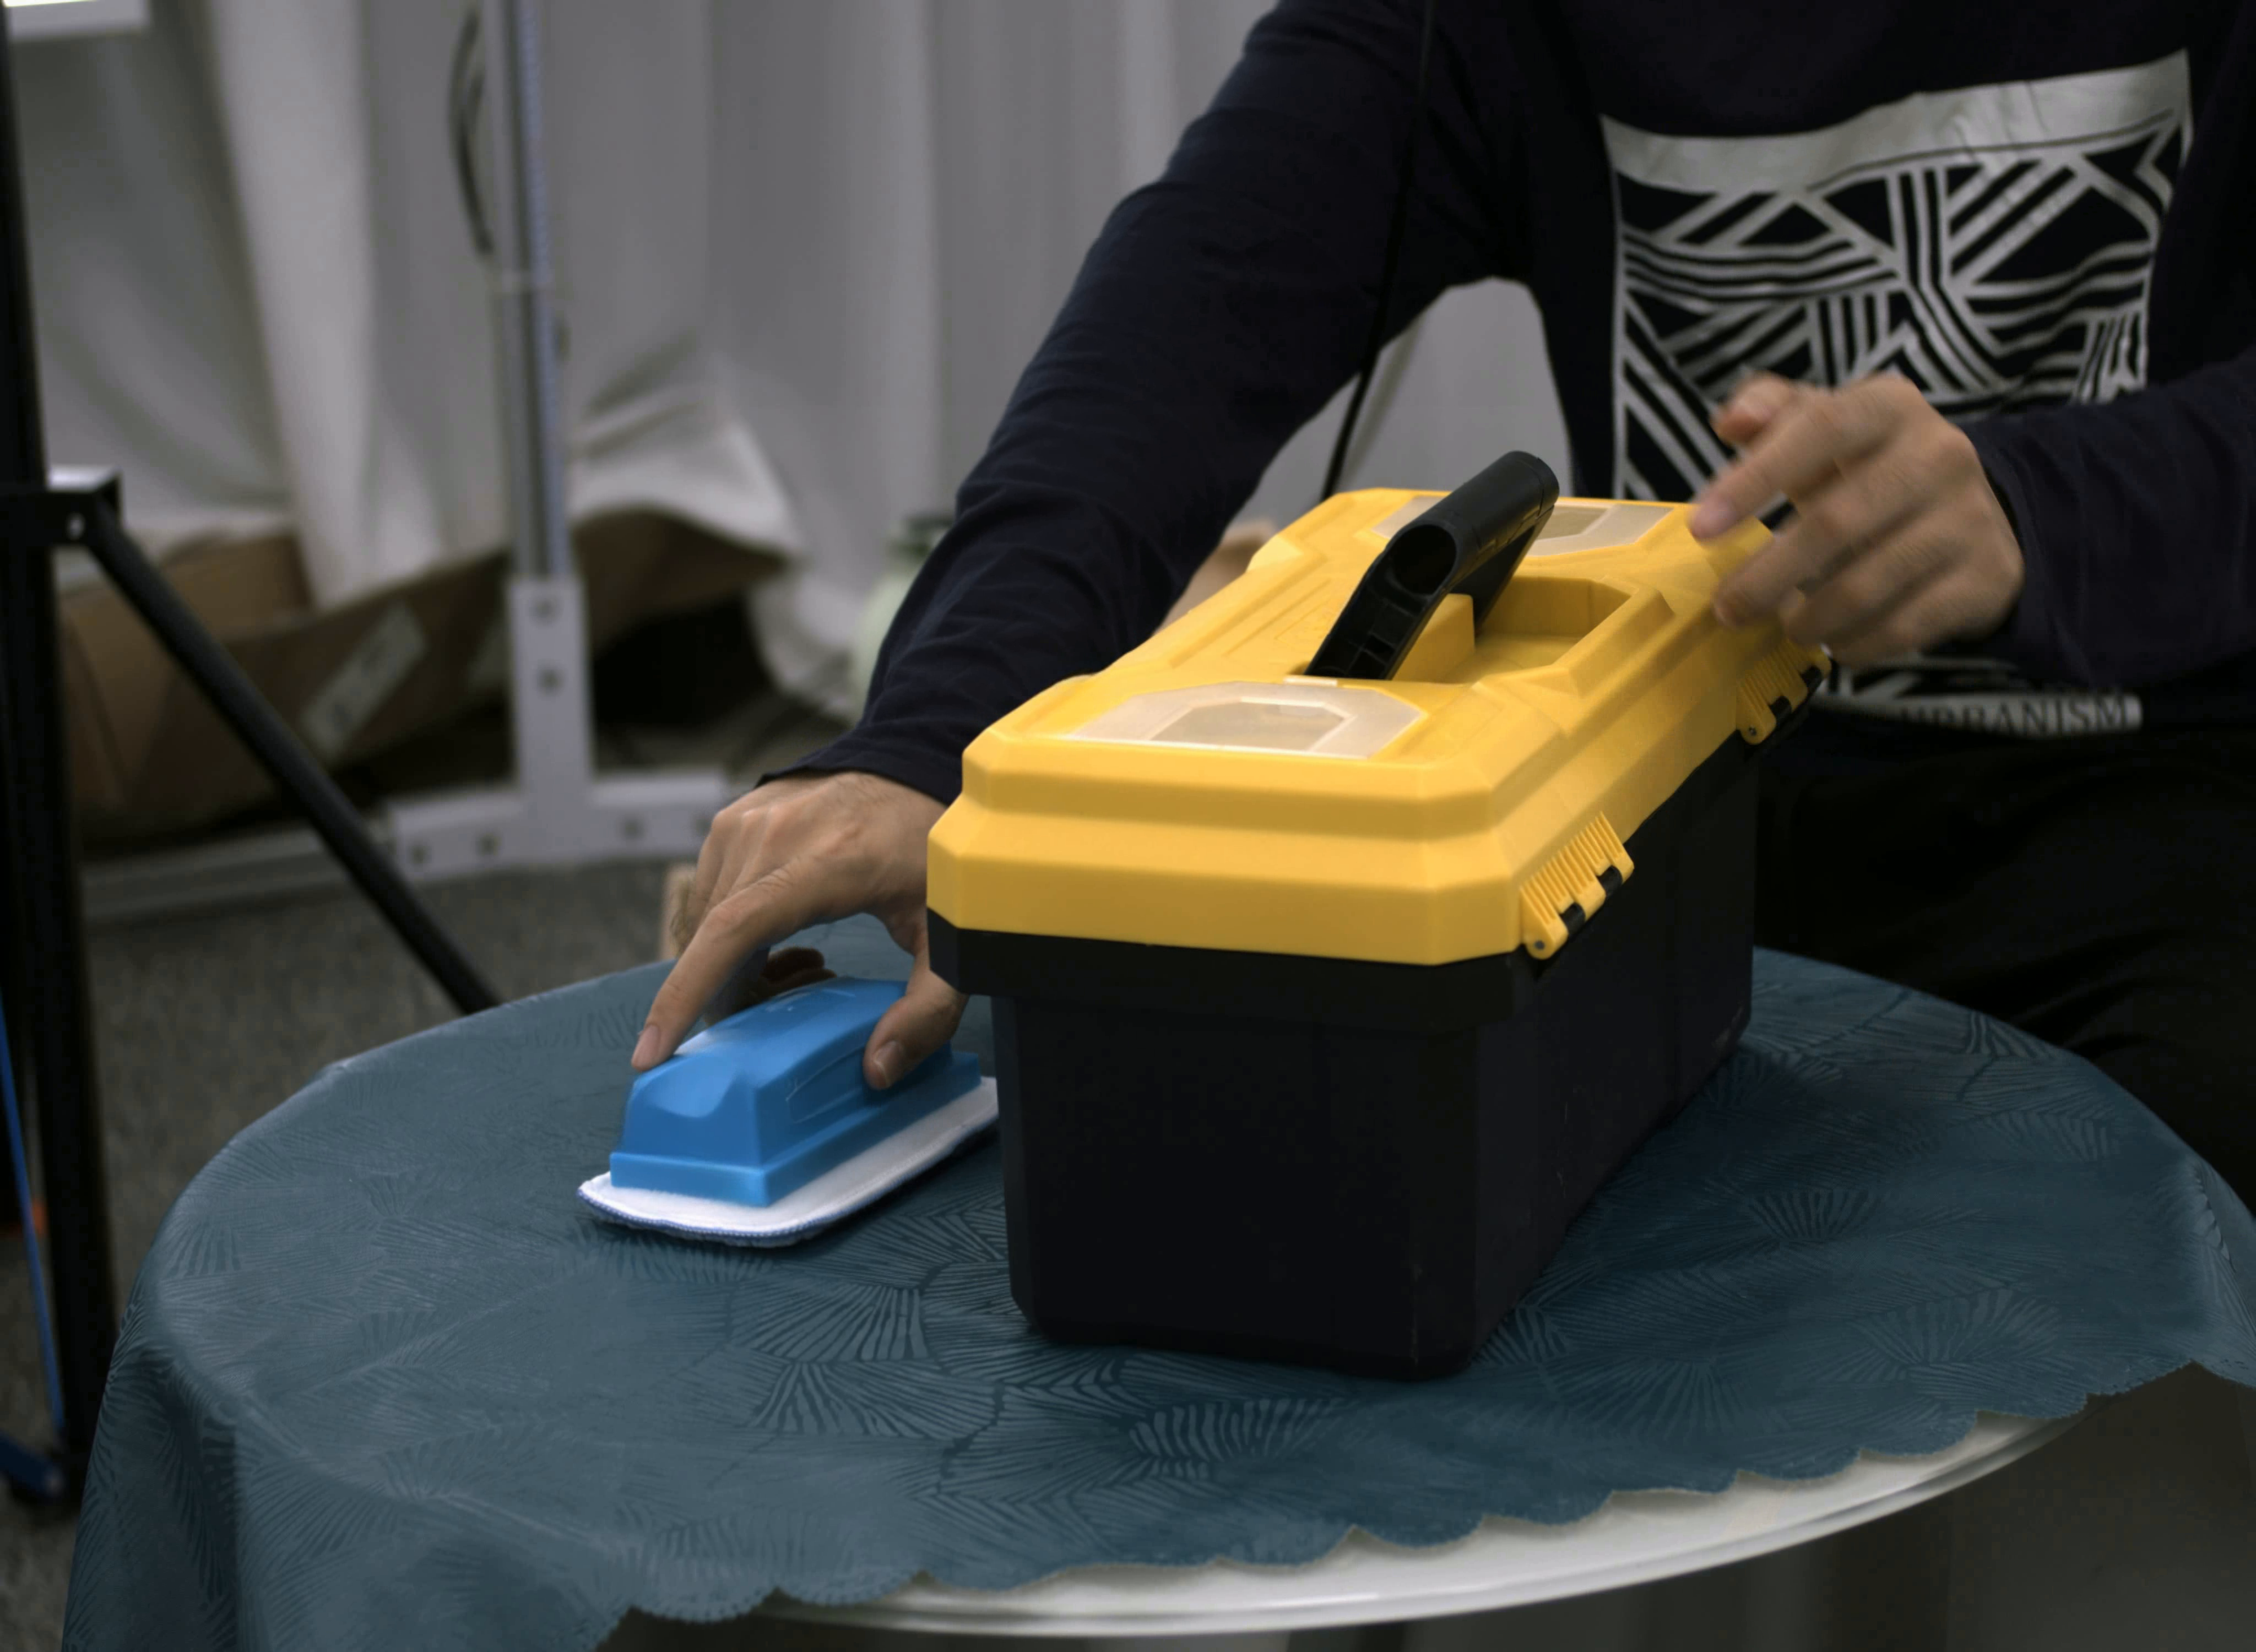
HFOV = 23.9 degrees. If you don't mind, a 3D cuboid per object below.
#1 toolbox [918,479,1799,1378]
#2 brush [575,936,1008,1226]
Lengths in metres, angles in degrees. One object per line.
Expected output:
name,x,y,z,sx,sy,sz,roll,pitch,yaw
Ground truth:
toolbox,0.077,0.020,1.540,0.183,0.173,0.347,4,17,21
brush,-0.097,0.072,1.590,0.085,0.056,0.141,10,22,31
